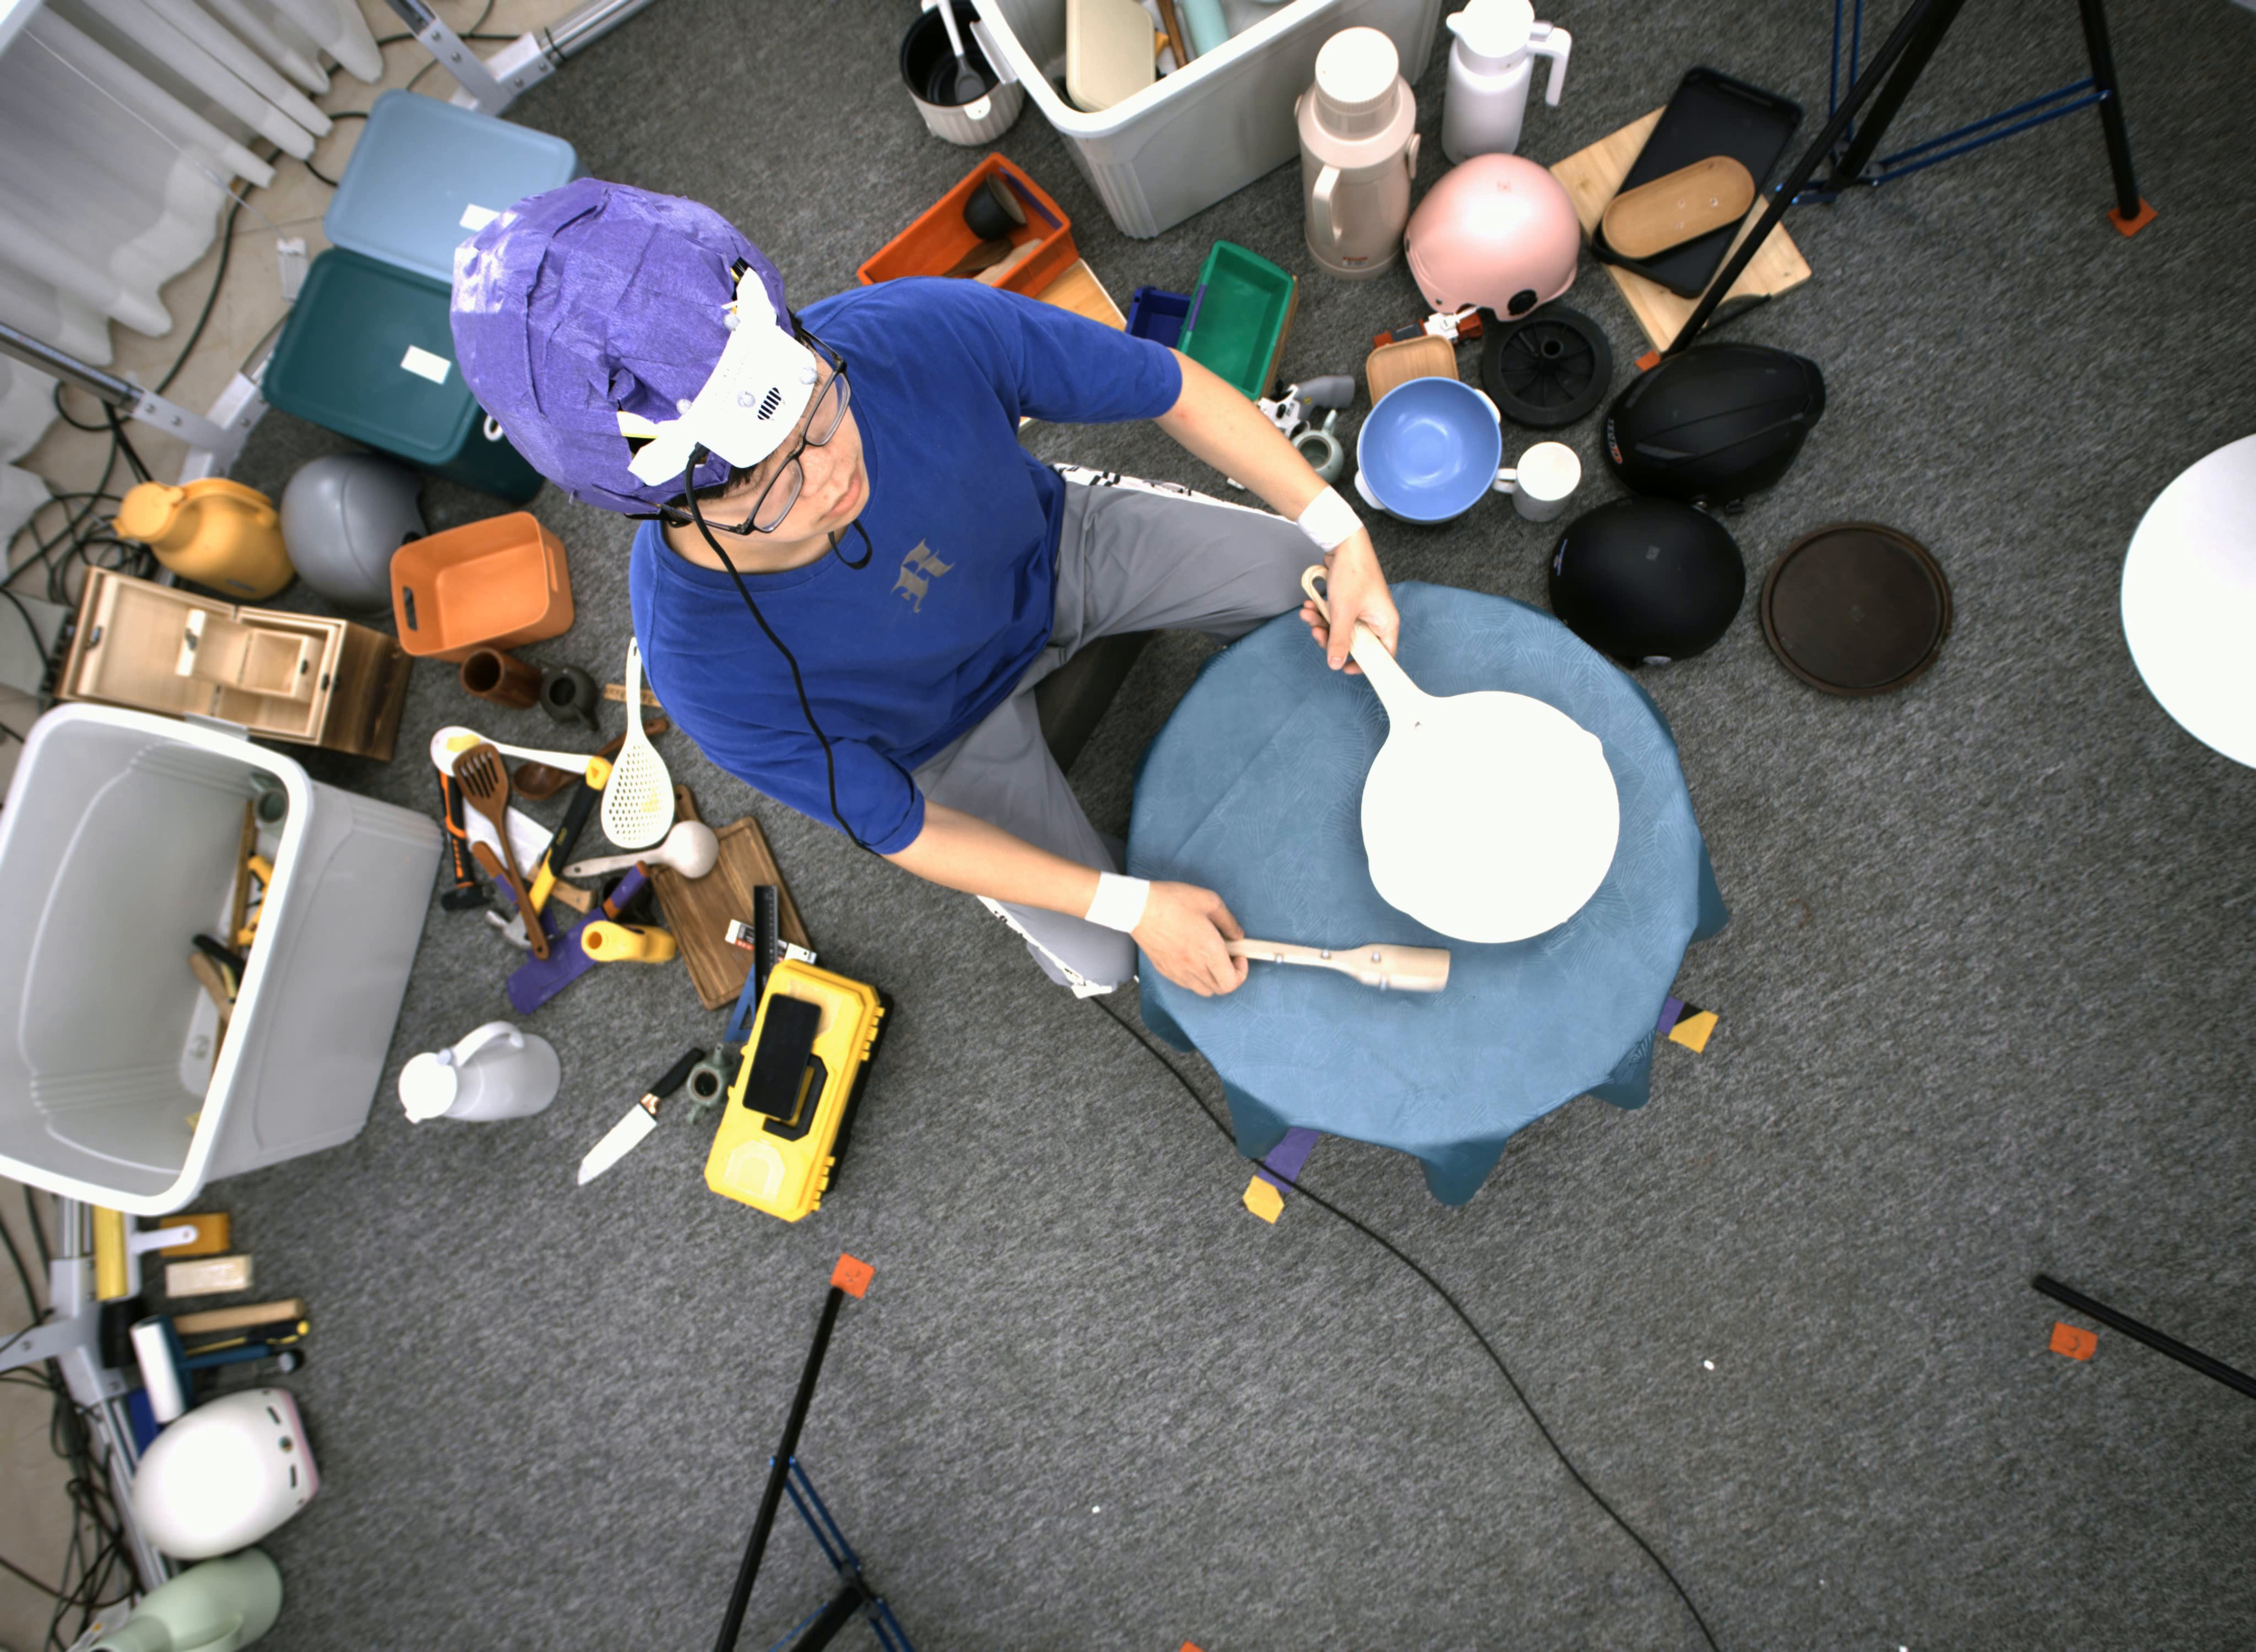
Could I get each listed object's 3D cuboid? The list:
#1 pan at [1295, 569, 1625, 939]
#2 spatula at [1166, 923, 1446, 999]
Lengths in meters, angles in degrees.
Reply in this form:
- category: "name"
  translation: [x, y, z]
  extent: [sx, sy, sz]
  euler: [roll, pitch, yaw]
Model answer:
- category: "pan"
  translation: [0.315, -0.086, 1.407]
  extent: [0.265, 0.102, 0.432]
  euler: [-37, 81, 8]
- category: "spatula"
  translation: [0.183, 0.134, 1.449]
  extent: [0.294, 0.070, 0.011]
  euler: [8, 132, 14]
